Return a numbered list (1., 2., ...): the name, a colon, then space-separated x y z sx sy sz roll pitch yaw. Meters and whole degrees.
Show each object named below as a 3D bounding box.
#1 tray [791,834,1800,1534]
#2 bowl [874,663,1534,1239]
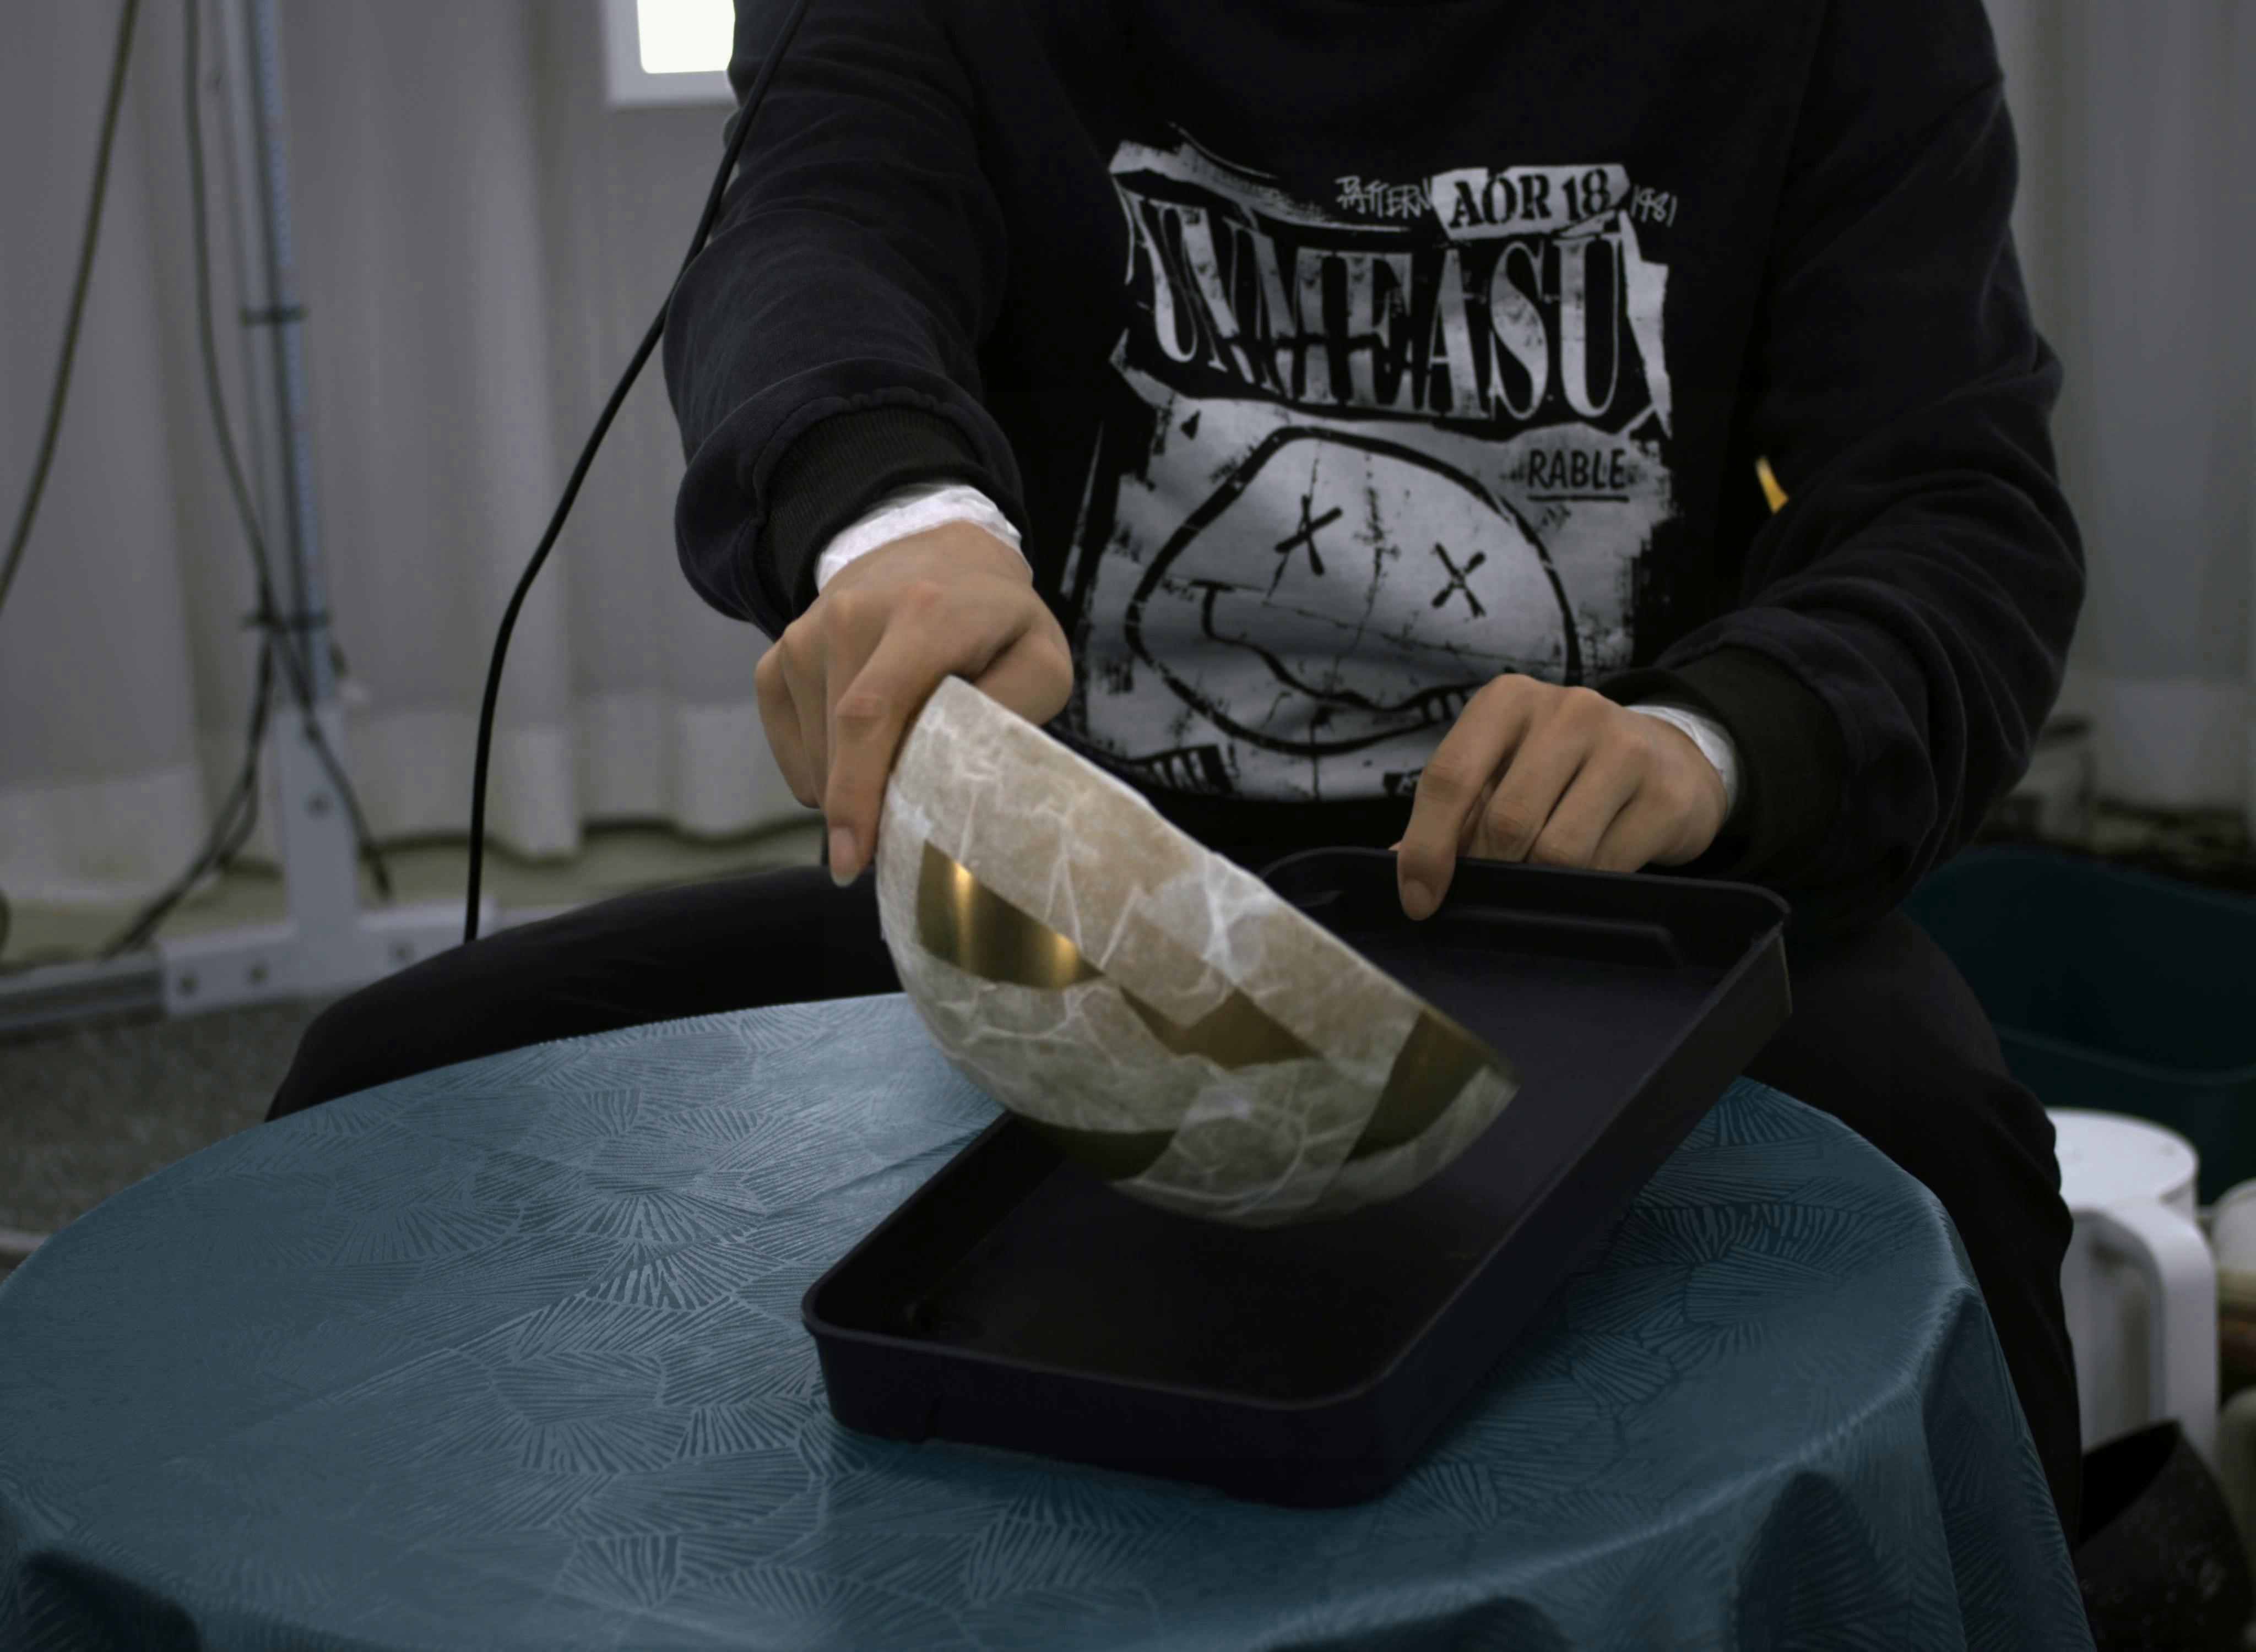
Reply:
1. tray: 0.057 0.096 1.602 0.185 0.037 0.319 8 30 31
2. bowl: 0.005 0.053 1.527 0.214 0.095 0.214 36 -2 2
